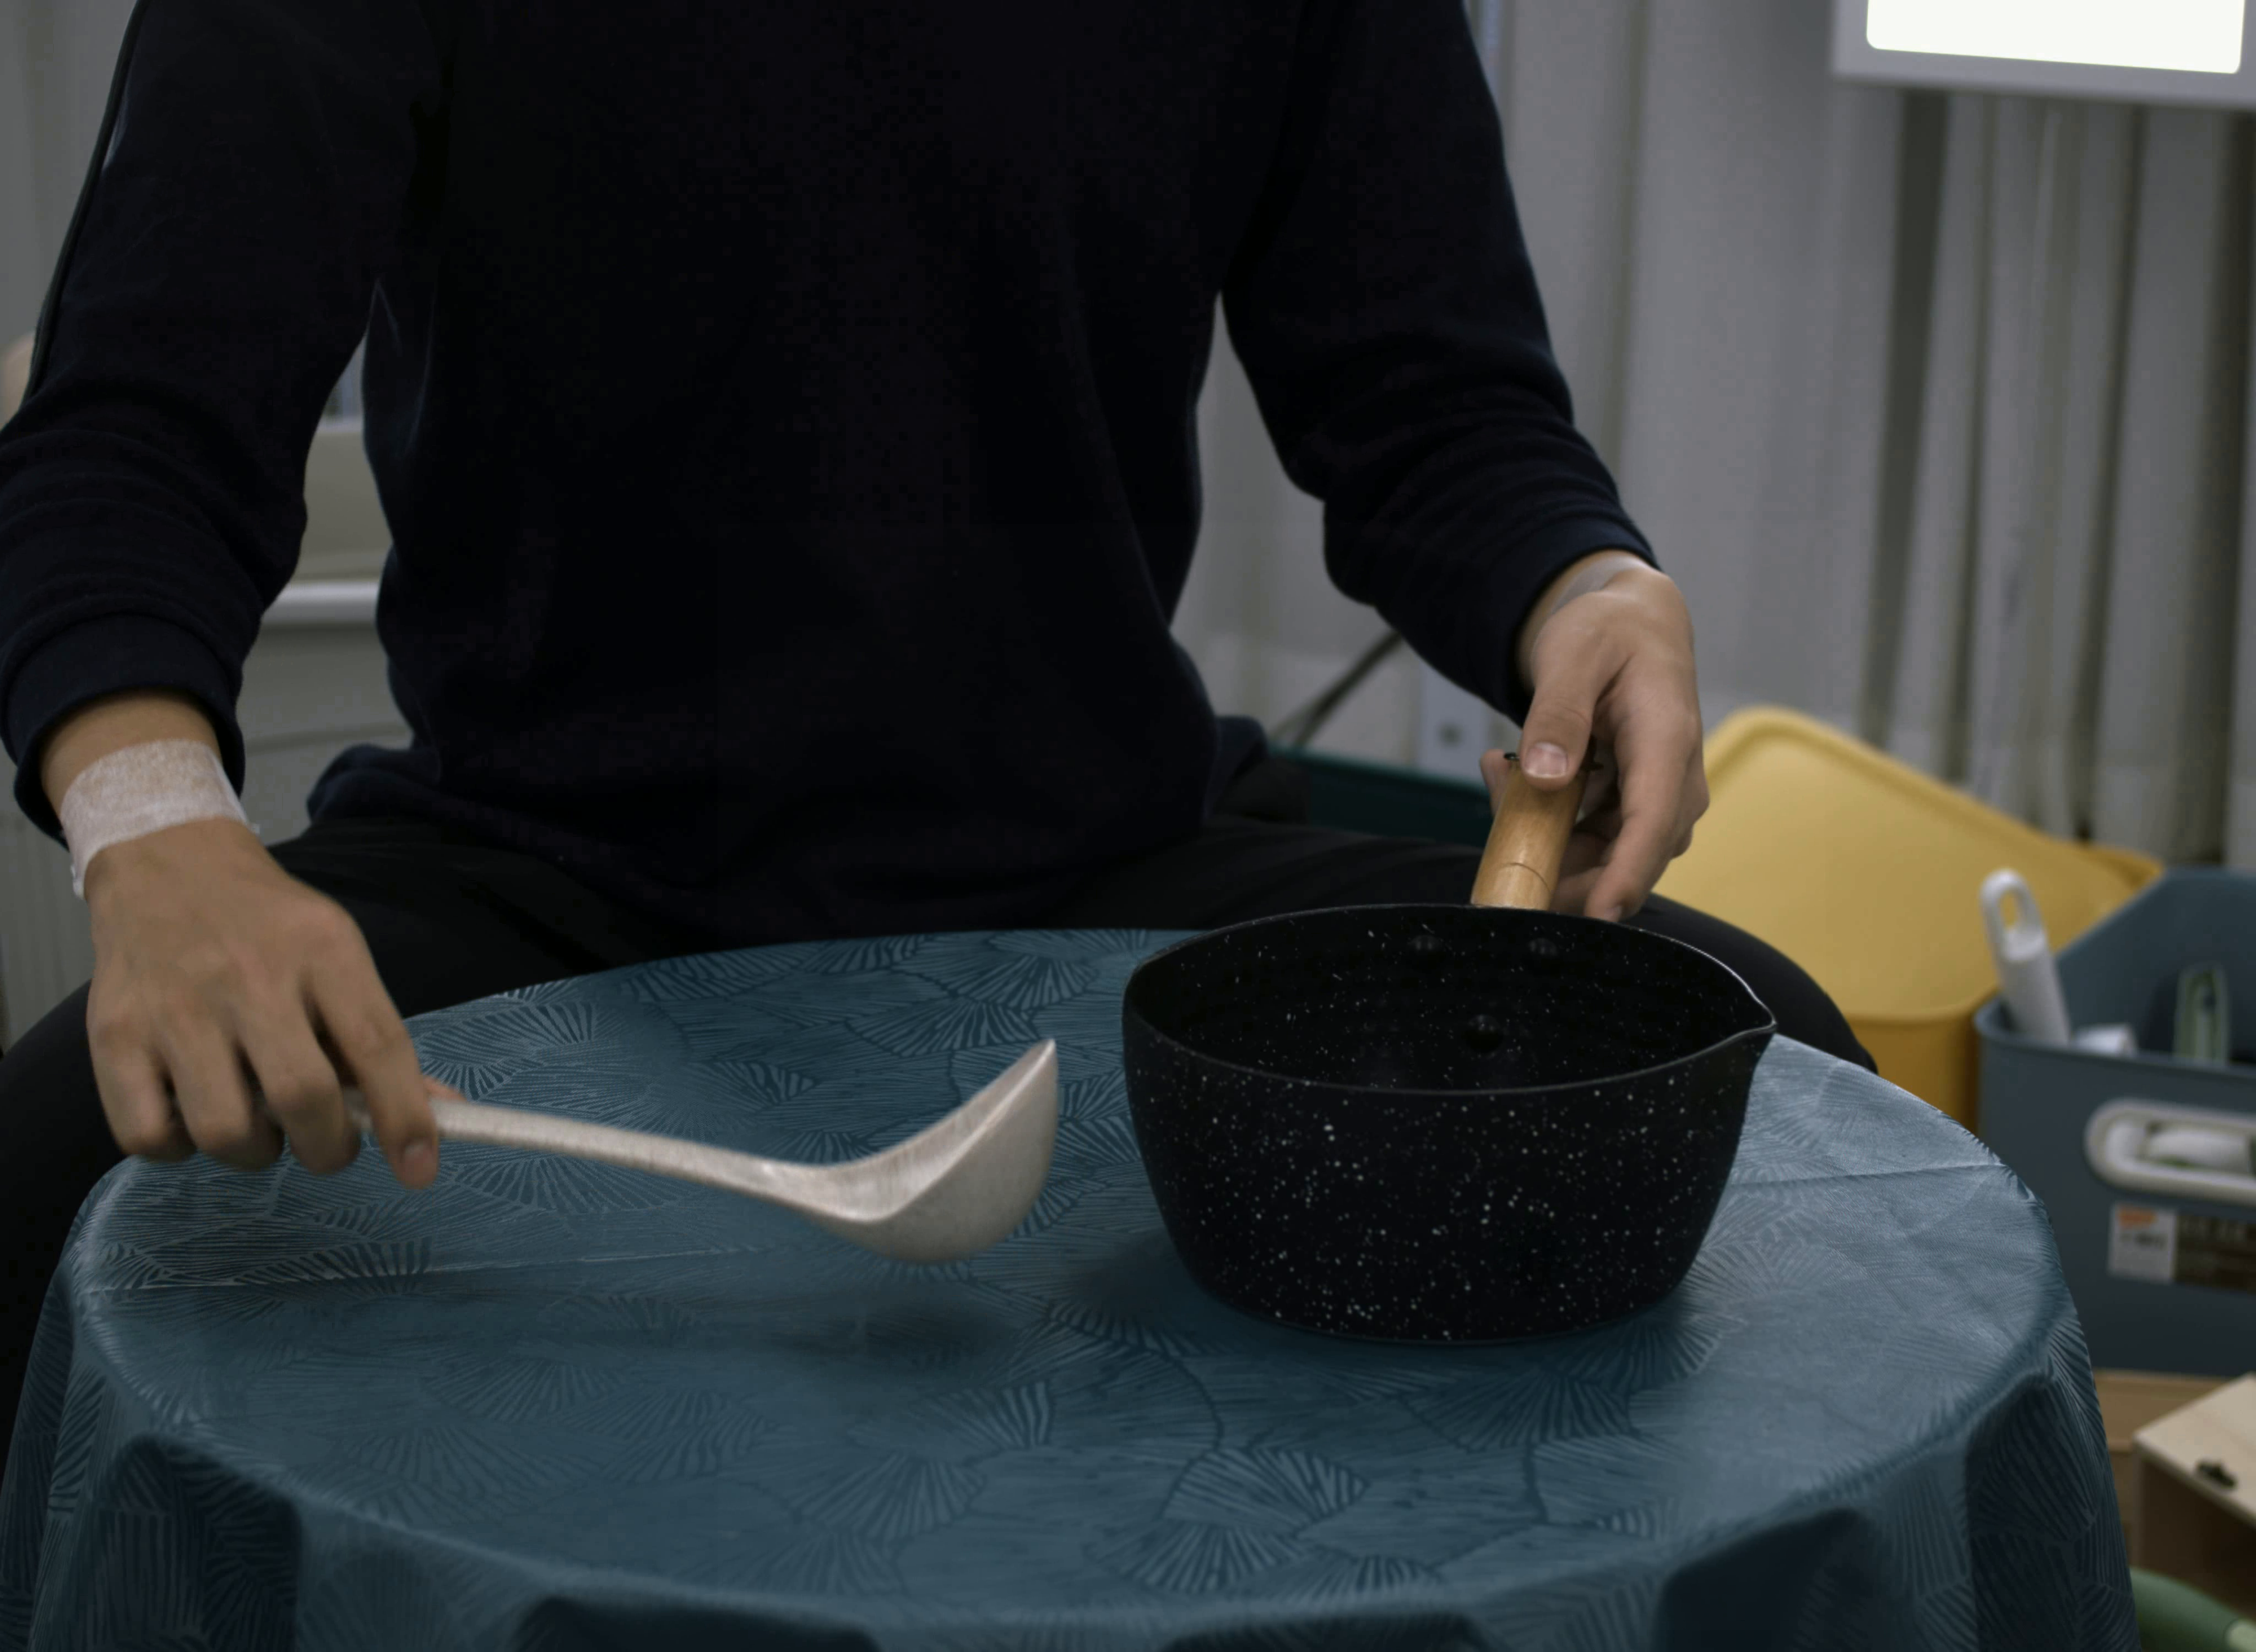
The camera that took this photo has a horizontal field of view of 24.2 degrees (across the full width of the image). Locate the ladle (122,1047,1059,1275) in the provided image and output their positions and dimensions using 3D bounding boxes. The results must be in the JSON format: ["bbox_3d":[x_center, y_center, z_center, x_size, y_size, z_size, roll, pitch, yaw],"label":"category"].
[{"bbox_3d":[-0.155,0.076,1.509,0.273,0.070,0.089,10,18,7],"label":"ladle"}]

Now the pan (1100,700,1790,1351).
[{"bbox_3d":[0.107,0.056,1.625,0.206,0.109,0.342,3,17,11],"label":"pan"}]
